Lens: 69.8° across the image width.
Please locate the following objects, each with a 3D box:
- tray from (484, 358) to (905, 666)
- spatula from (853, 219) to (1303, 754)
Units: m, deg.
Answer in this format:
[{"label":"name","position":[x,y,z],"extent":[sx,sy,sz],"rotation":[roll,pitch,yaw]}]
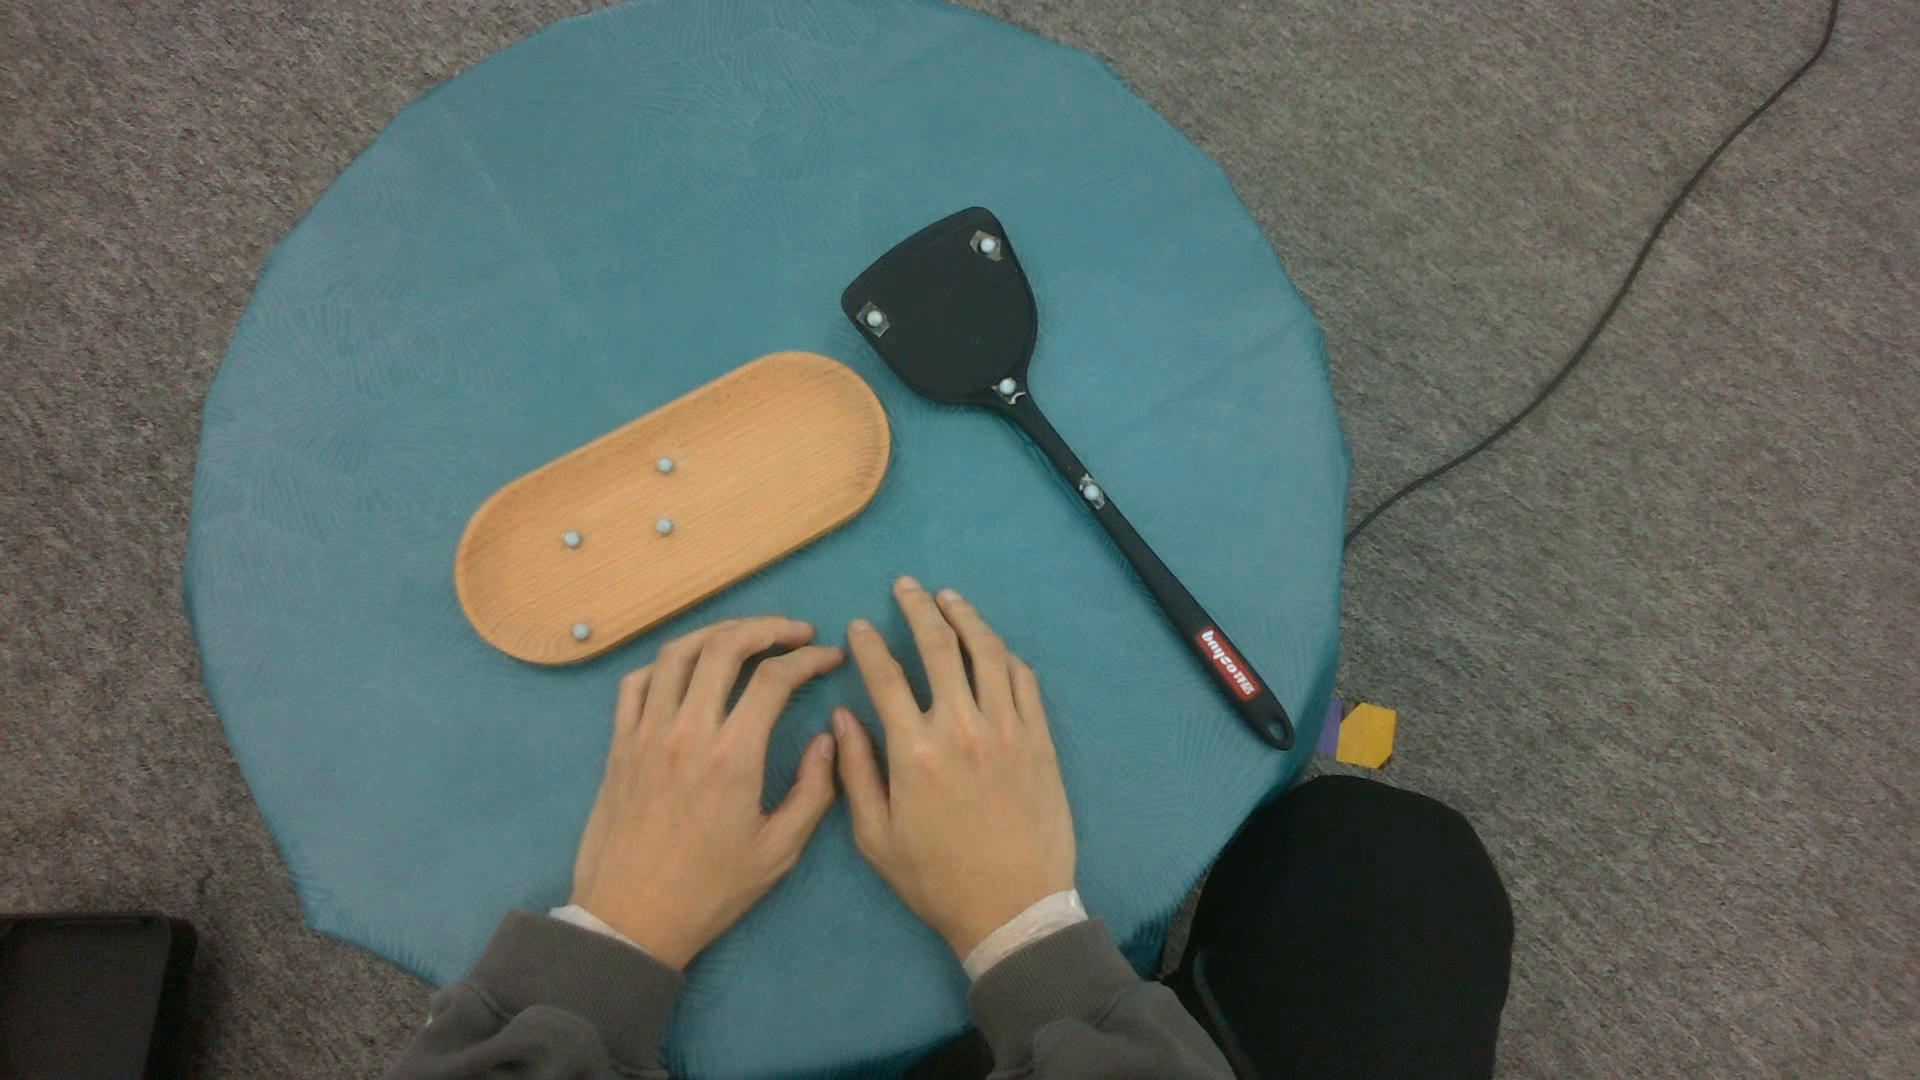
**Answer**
[{"label":"tray","position":[-0.136,-0.016,0.720],"extent":[0.231,0.020,0.102],"rotation":[-29,76,-11]},{"label":"spatula","position":[0.073,-0.023,0.715],"extent":[0.100,0.040,0.326],"rotation":[-35,76,-10]}]
